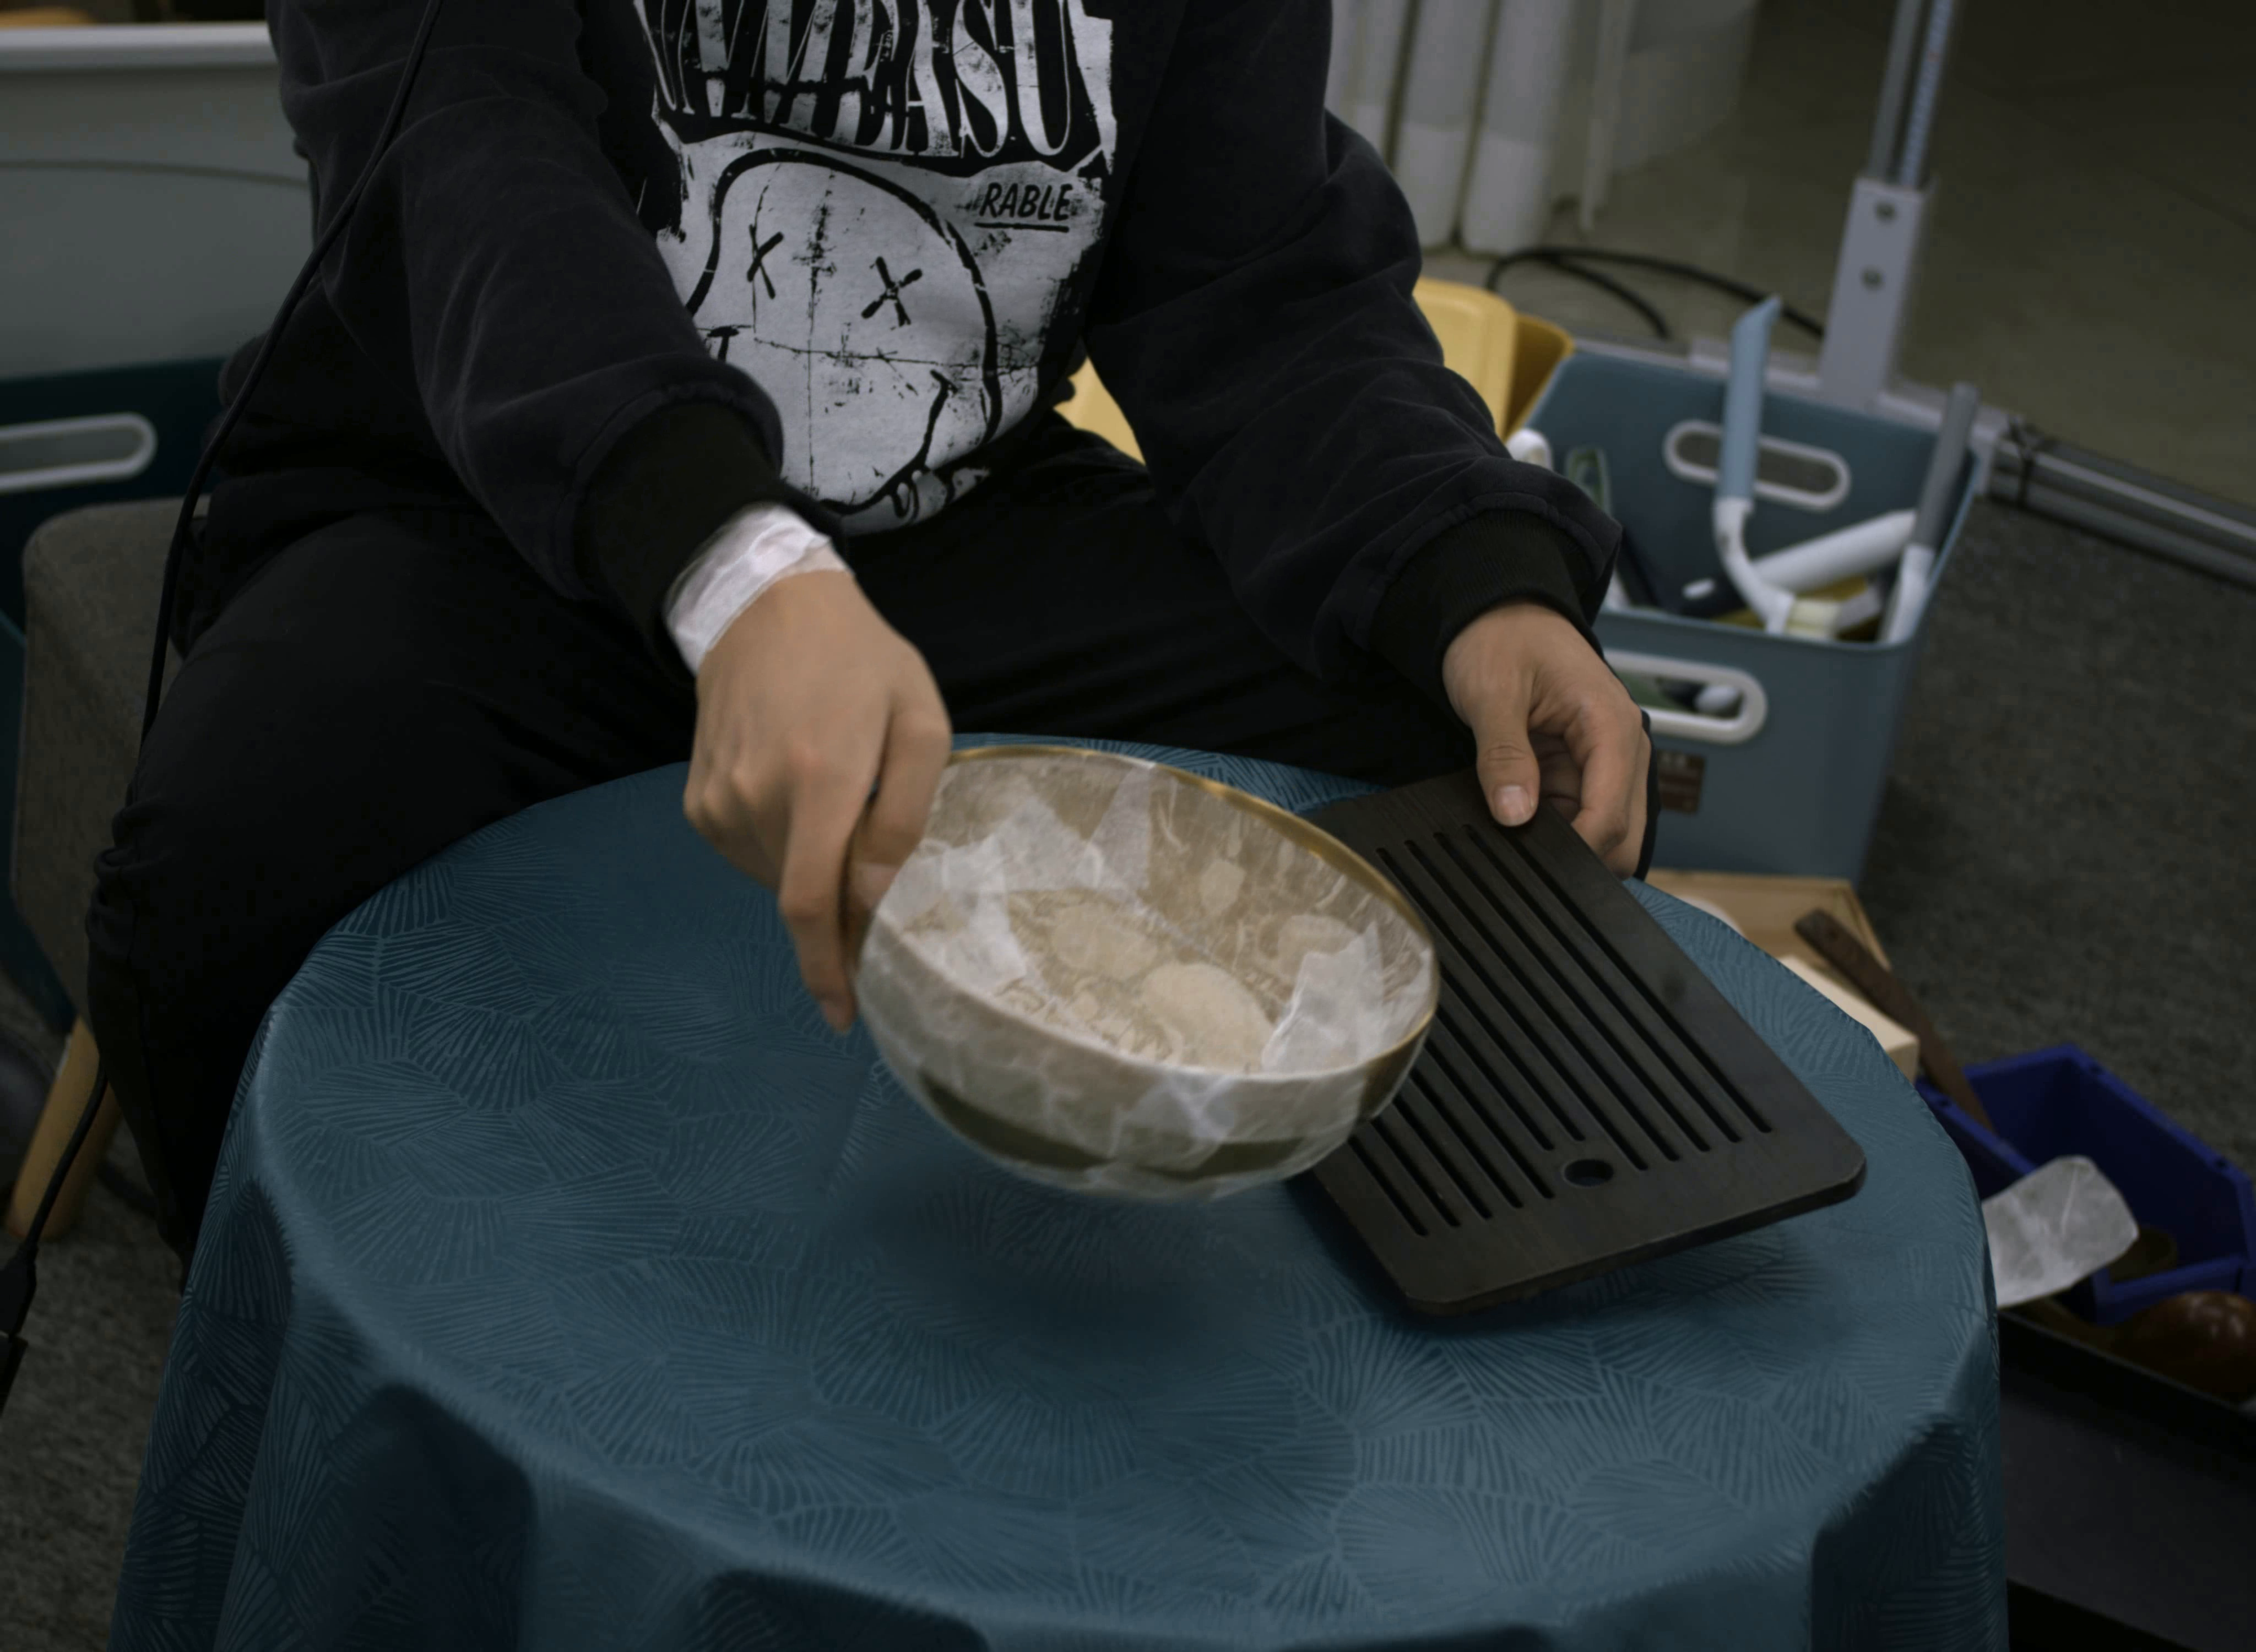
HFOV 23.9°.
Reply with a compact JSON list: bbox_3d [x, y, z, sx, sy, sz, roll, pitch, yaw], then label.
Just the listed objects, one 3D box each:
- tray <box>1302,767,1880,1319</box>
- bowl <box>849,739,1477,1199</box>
[{"bbox_3d":[0.123,0.072,1.873,0.169,0.018,0.308,-16,32,-15],"label":"tray"},{"bbox_3d":[0.001,0.059,1.747,0.214,0.094,0.216,13,27,-7],"label":"bowl"}]
